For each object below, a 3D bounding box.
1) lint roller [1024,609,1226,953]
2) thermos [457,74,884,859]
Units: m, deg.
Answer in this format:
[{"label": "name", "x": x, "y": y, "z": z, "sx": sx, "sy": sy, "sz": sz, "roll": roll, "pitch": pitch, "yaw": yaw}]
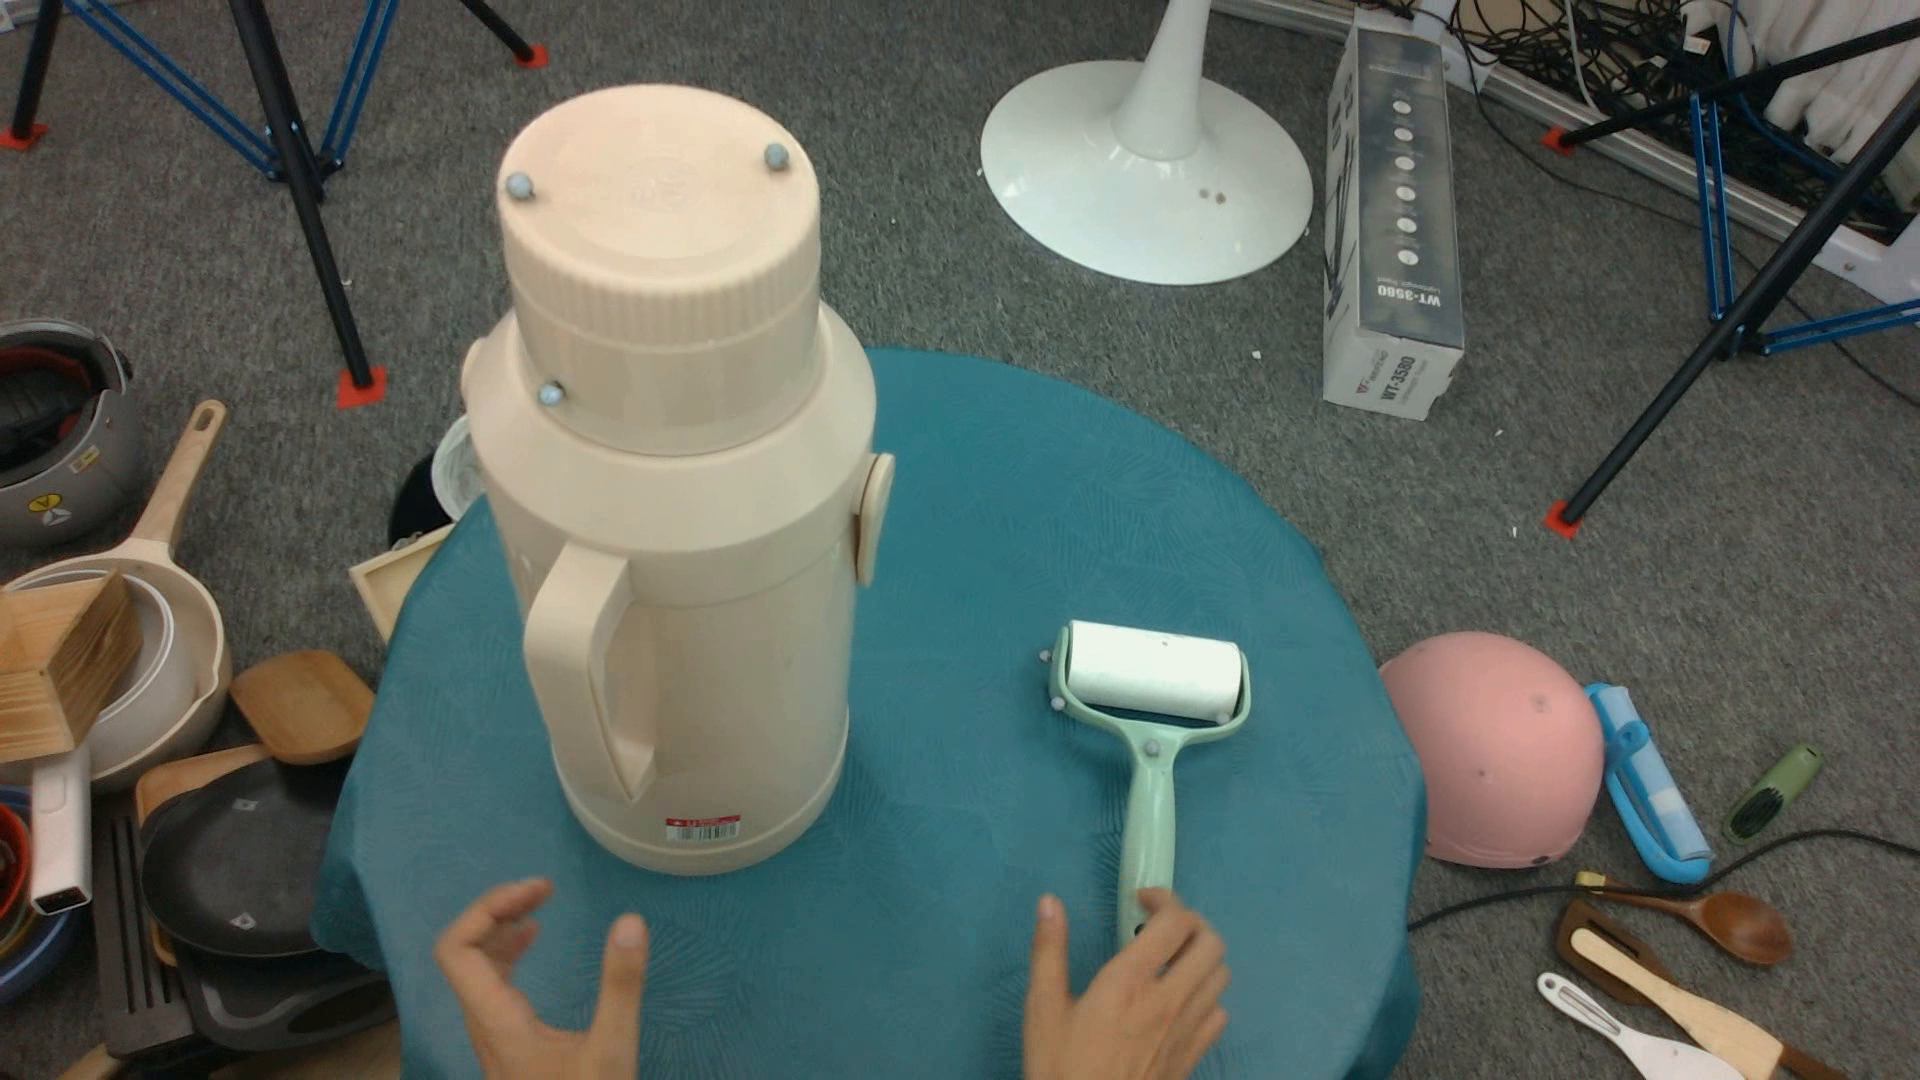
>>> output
[{"label": "lint roller", "x": 0.090, "y": 0.129, "z": 0.771, "sx": 0.116, "sy": 0.048, "sz": 0.198, "roll": 10, "pitch": 52, "yaw": -4}, {"label": "thermos", "x": -0.131, "y": 0.003, "z": 0.611, "sx": 0.175, "sy": 0.404, "sz": 0.208, "roll": 16, "pitch": 54, "yaw": 3}]
